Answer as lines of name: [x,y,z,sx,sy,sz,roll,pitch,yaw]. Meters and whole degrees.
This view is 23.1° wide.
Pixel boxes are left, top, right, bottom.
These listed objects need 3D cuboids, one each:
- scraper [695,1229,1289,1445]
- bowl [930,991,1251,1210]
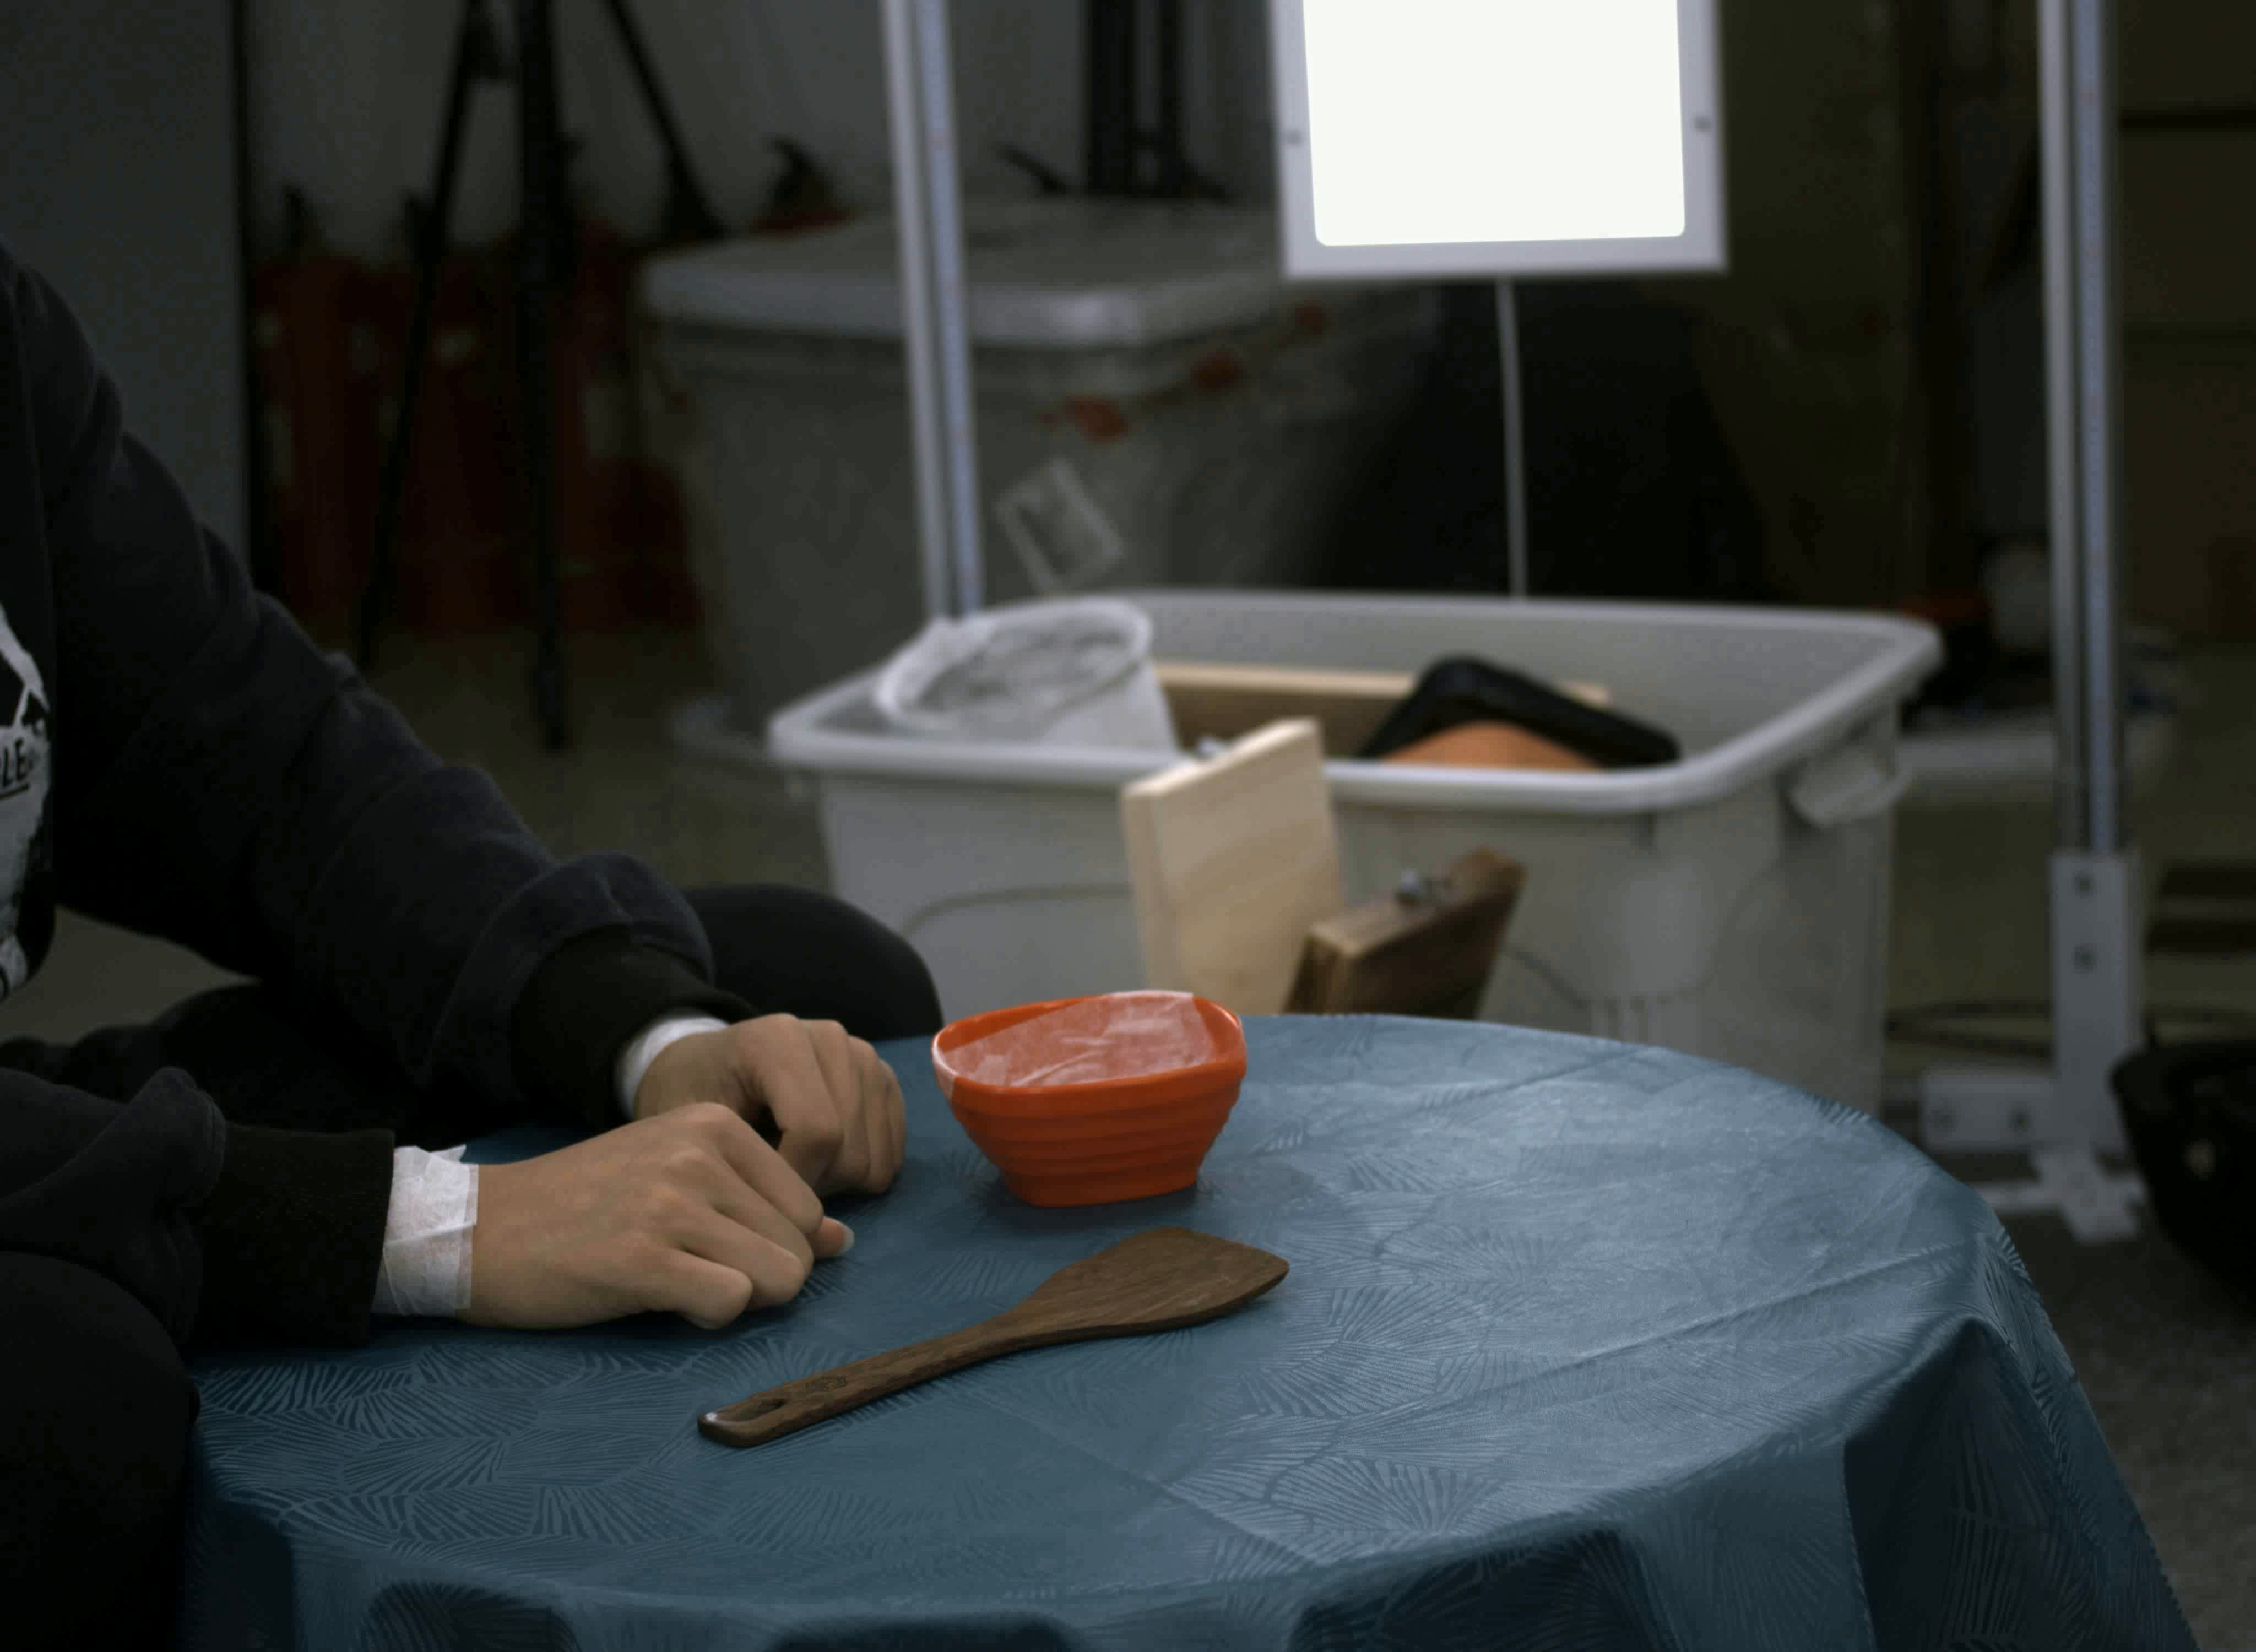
scraper: [-0.046,0.163,1.747,0.206,0.011,0.077,-15,16,-34]
bowl: [-0.012,0.098,1.915,0.118,0.051,0.119,-3,16,0]
